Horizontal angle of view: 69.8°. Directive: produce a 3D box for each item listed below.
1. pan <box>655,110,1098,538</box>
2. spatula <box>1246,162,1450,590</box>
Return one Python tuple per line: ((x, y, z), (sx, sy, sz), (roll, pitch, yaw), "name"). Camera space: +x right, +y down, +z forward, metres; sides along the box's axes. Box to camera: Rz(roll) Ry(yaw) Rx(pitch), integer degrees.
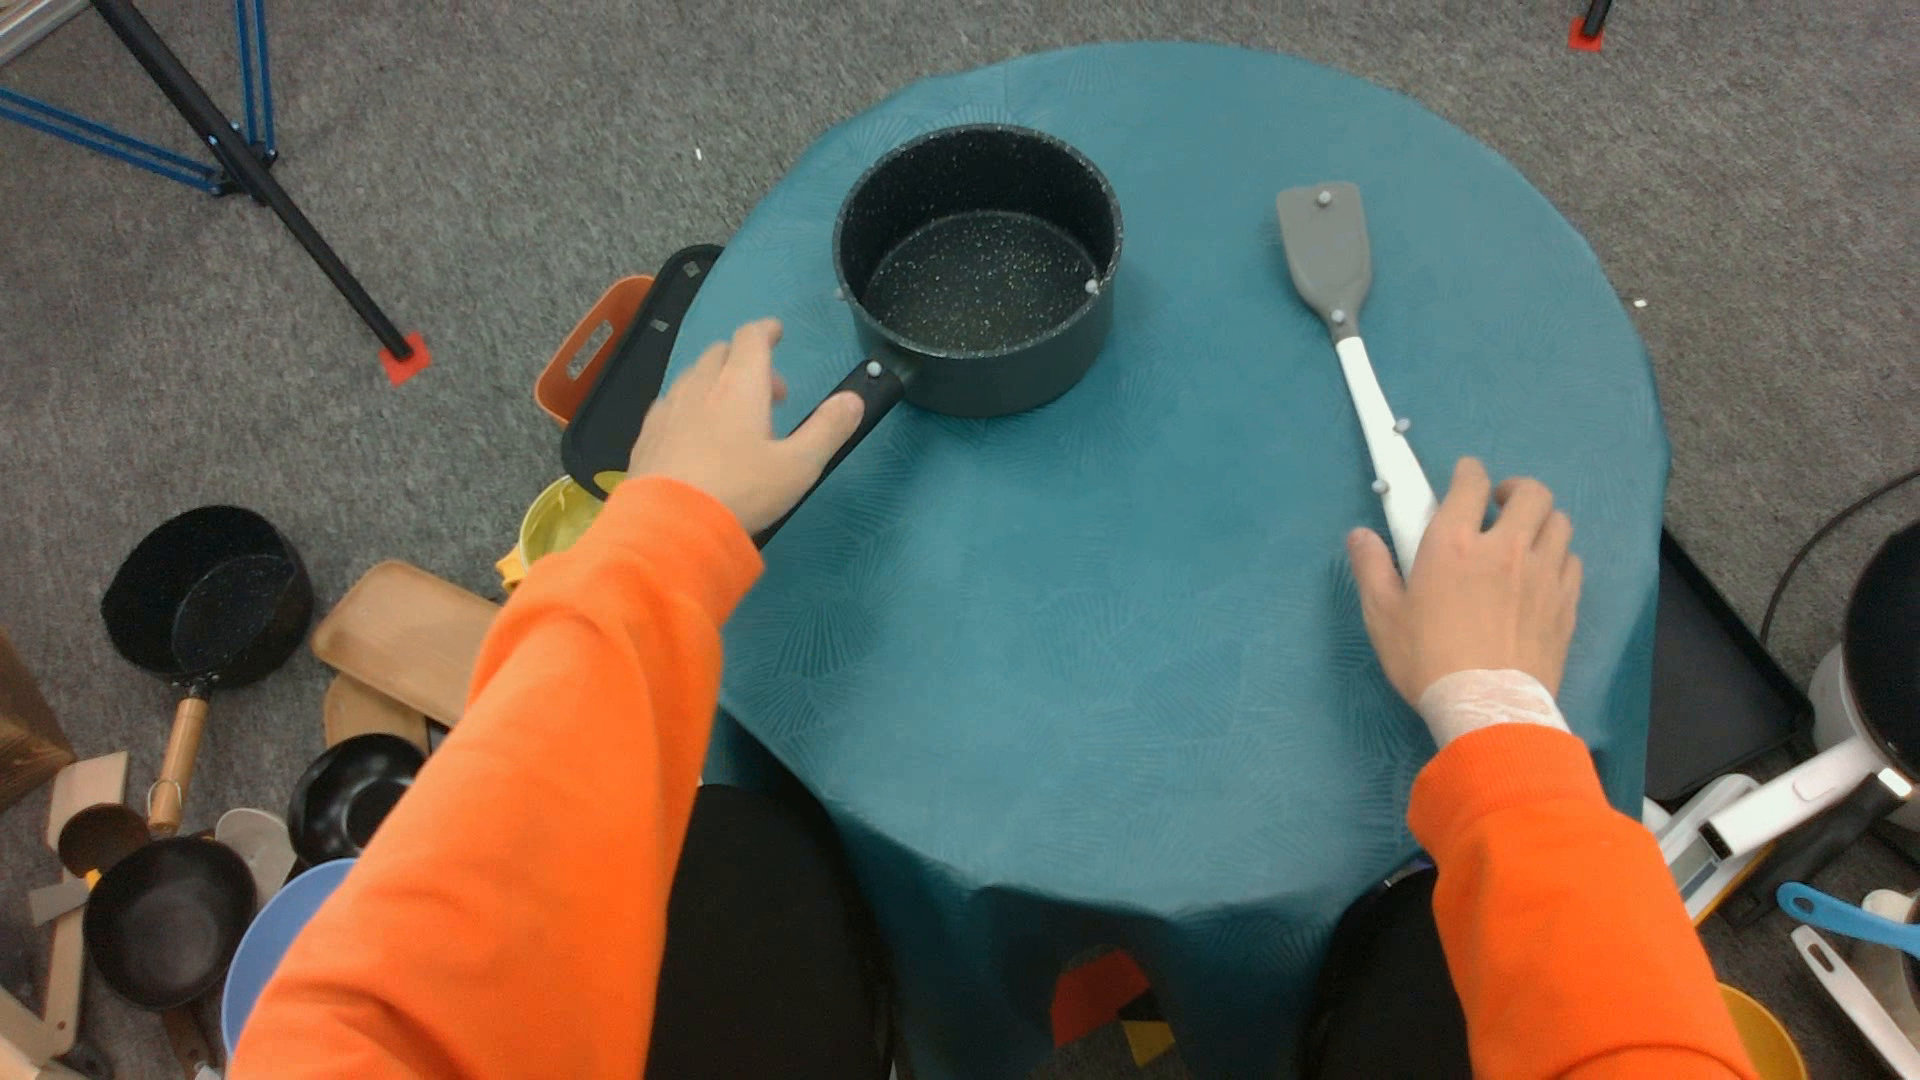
((-0.049, -0.113, 0.804), (0.172, 0.086, 0.330), (31, 67, 19), "pan")
((0.227, -0.105, 0.811), (0.058, 0.032, 0.288), (-11, 63, 2), "spatula")
